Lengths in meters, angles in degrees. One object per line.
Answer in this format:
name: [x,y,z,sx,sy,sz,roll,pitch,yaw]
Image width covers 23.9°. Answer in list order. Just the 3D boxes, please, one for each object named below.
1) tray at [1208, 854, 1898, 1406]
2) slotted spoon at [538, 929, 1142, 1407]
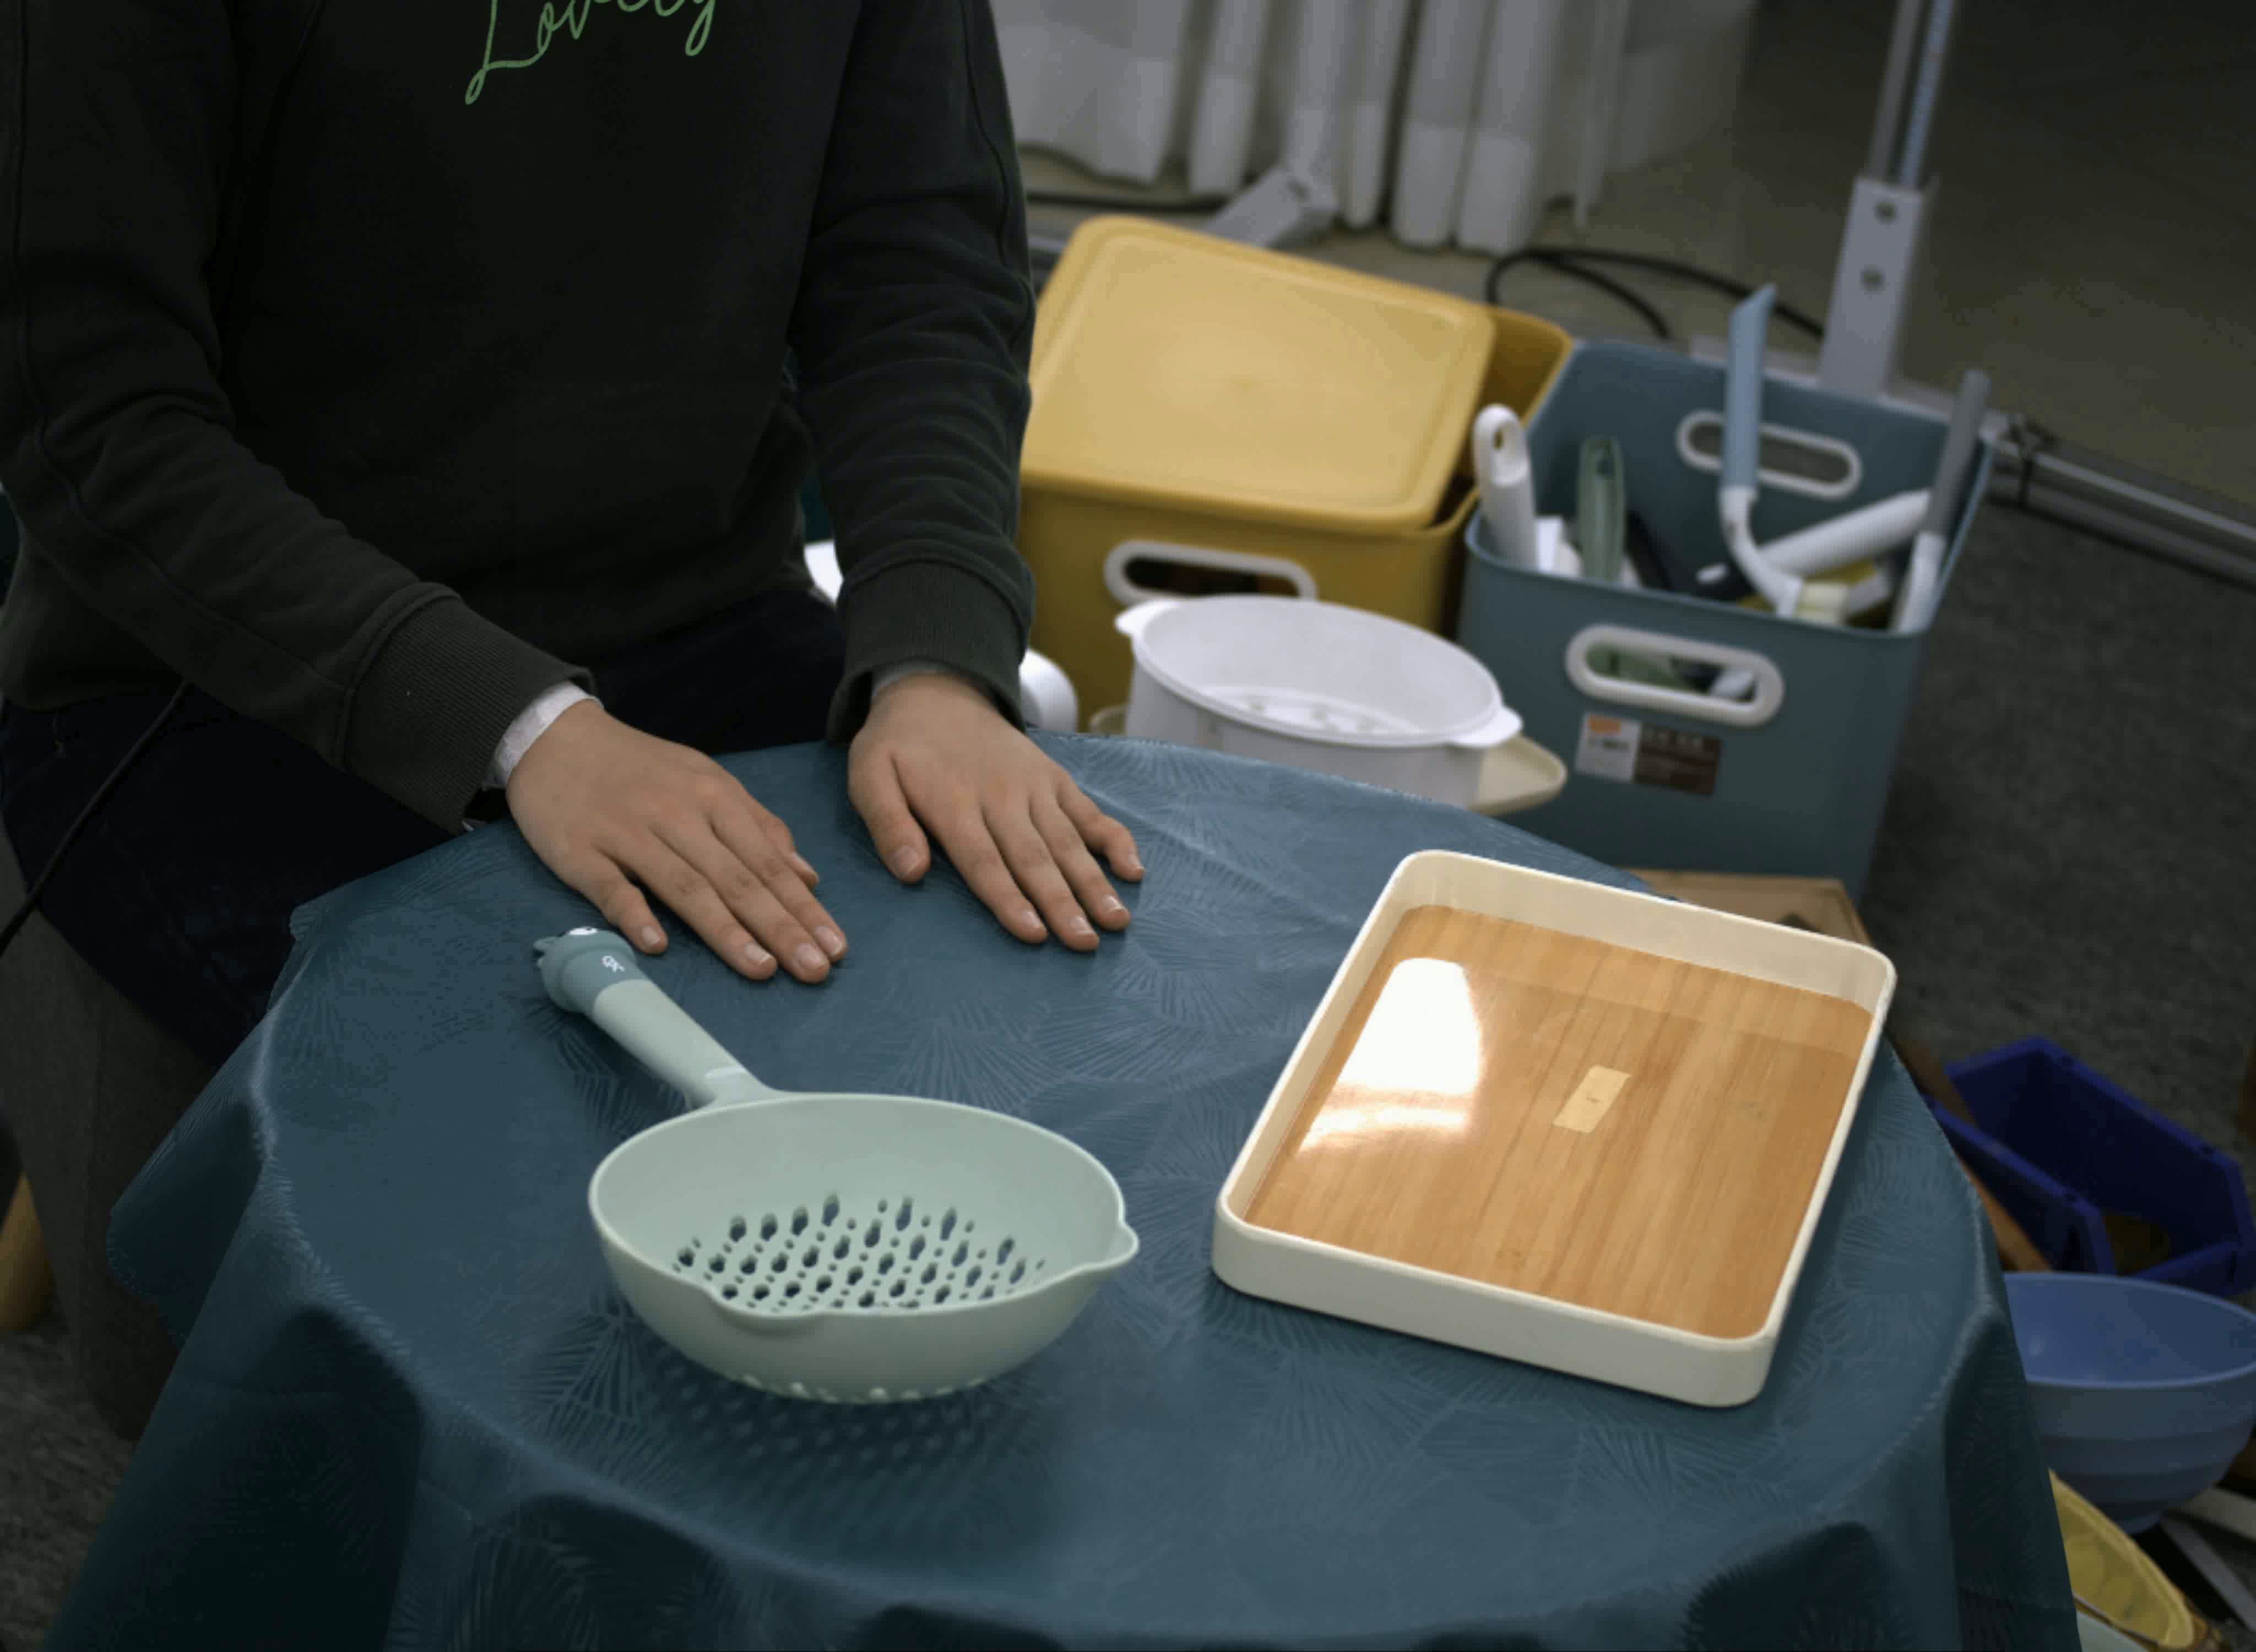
tray: [0.154,0.100,1.854,0.192,0.027,0.301,13,27,12]
slotted spoon: [-0.128,0.097,1.753,0.168,0.075,0.362,-6,29,-25]
